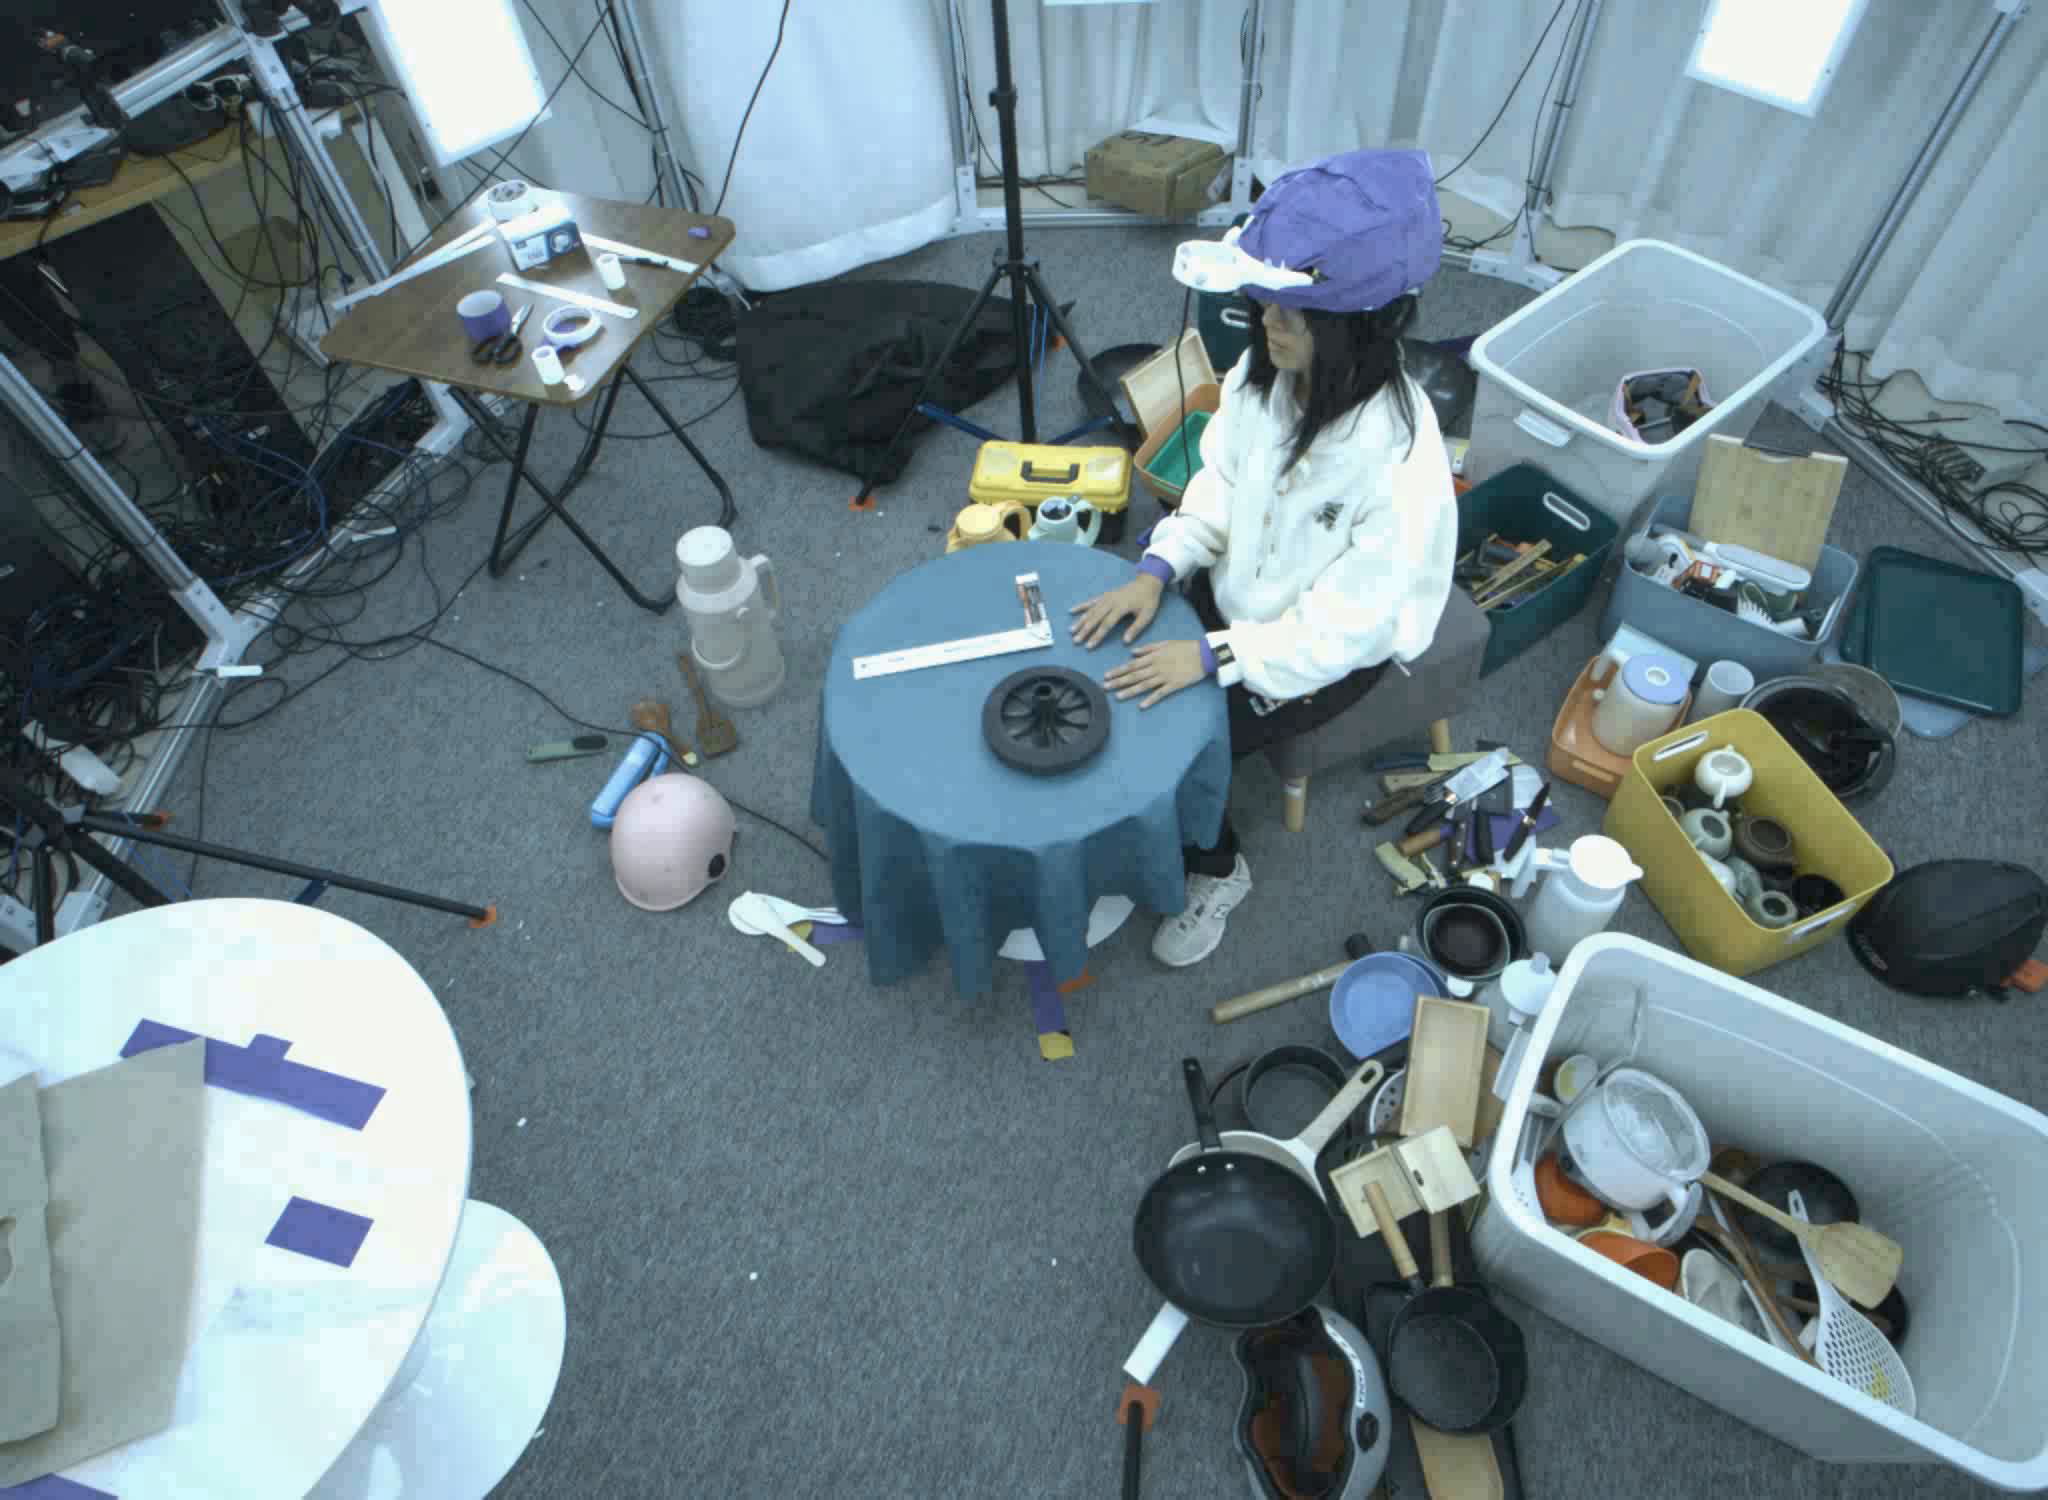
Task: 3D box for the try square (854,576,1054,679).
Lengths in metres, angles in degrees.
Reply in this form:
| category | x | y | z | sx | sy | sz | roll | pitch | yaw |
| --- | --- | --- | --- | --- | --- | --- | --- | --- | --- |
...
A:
| category | x | y | z | sx | sy | sz | roll | pitch | yaw |
| --- | --- | --- | --- | --- | --- | --- | --- | --- | --- |
| try square | -0.116 | -0.193 | 1.927 | 0.314 | 0.016 | 0.150 | -10 | 51 | -4 |

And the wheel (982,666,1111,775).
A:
| category | x | y | z | sx | sy | sz | roll | pitch | yaw |
| --- | --- | --- | --- | --- | --- | --- | --- | --- | --- |
| wheel | 0.031 | -0.058 | 1.781 | 0.189 | 0.080 | 0.186 | -28 | 59 | -17 |
